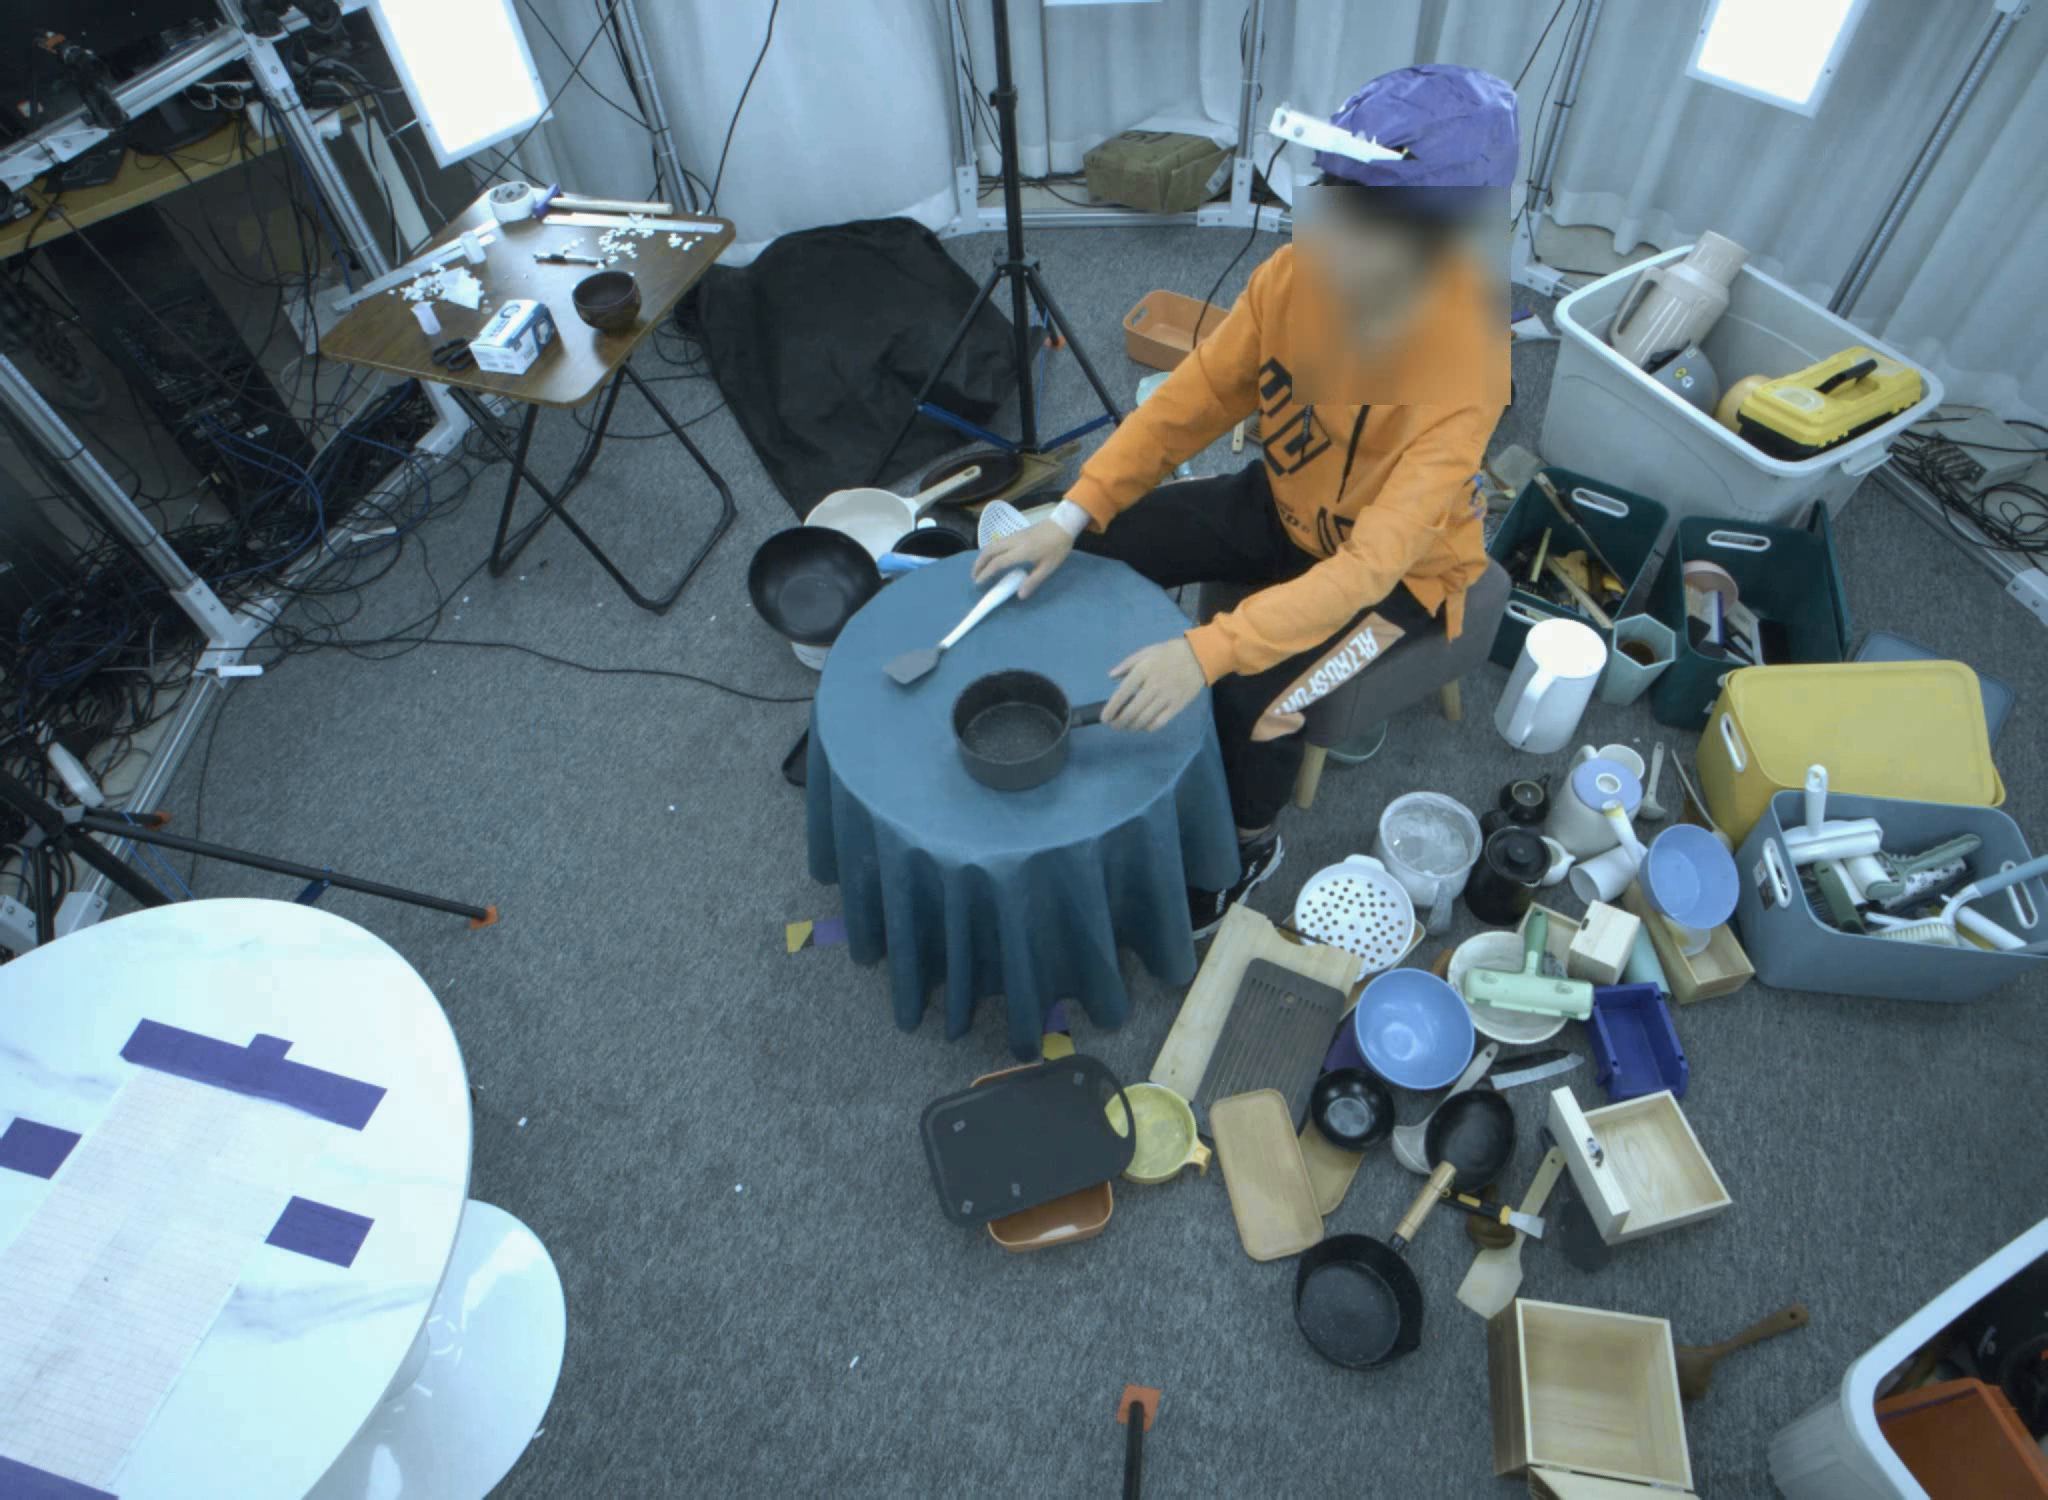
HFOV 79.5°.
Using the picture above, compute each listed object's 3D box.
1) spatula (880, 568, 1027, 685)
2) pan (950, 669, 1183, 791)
[{"bbox_3d":[-0.103,-0.190,1.906,0.058,0.032,0.289,38,63,21],"label":"spatula"},{"bbox_3d":[0.063,-0.036,1.758,0.329,0.087,0.170,-5,55,1],"label":"pan"}]
